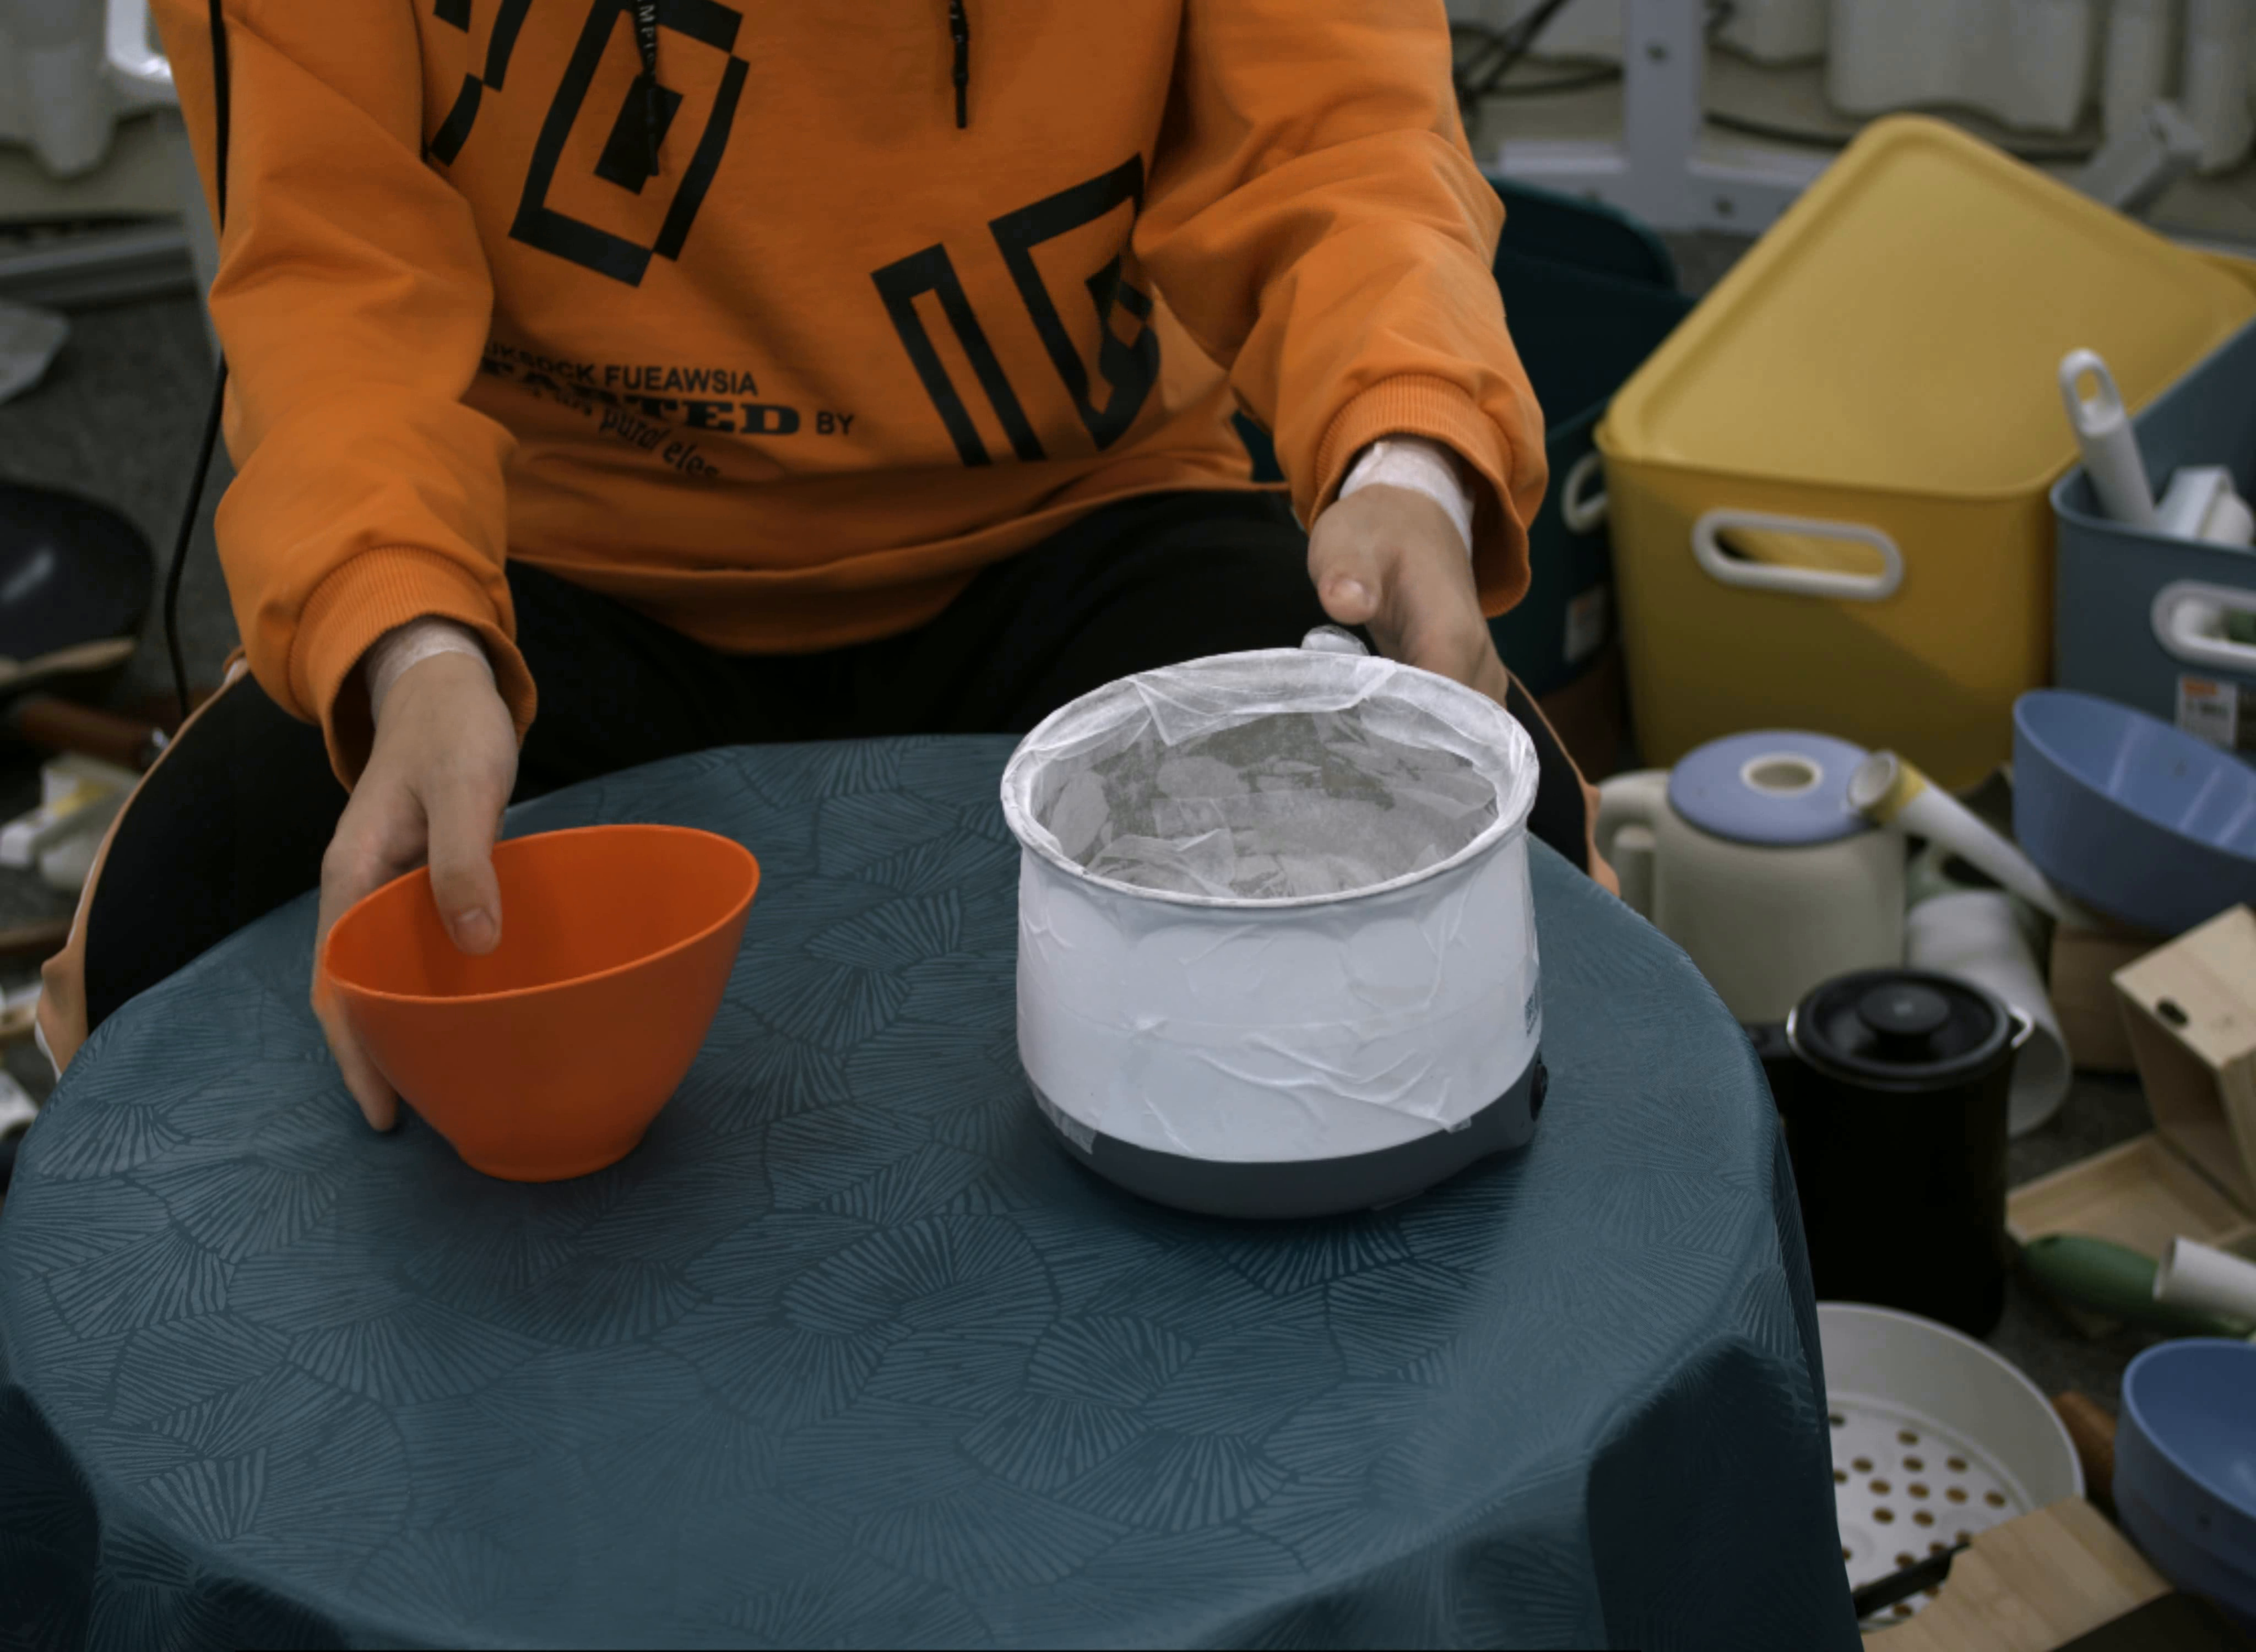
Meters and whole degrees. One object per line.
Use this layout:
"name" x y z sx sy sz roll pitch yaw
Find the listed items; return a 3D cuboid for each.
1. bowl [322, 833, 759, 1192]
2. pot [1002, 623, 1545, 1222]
"bowl" -0.193 0.067 1.885 0.147 0.103 0.150 -3 26 2
"pot" 0.055 0.025 1.895 0.177 0.135 0.238 3 28 11
